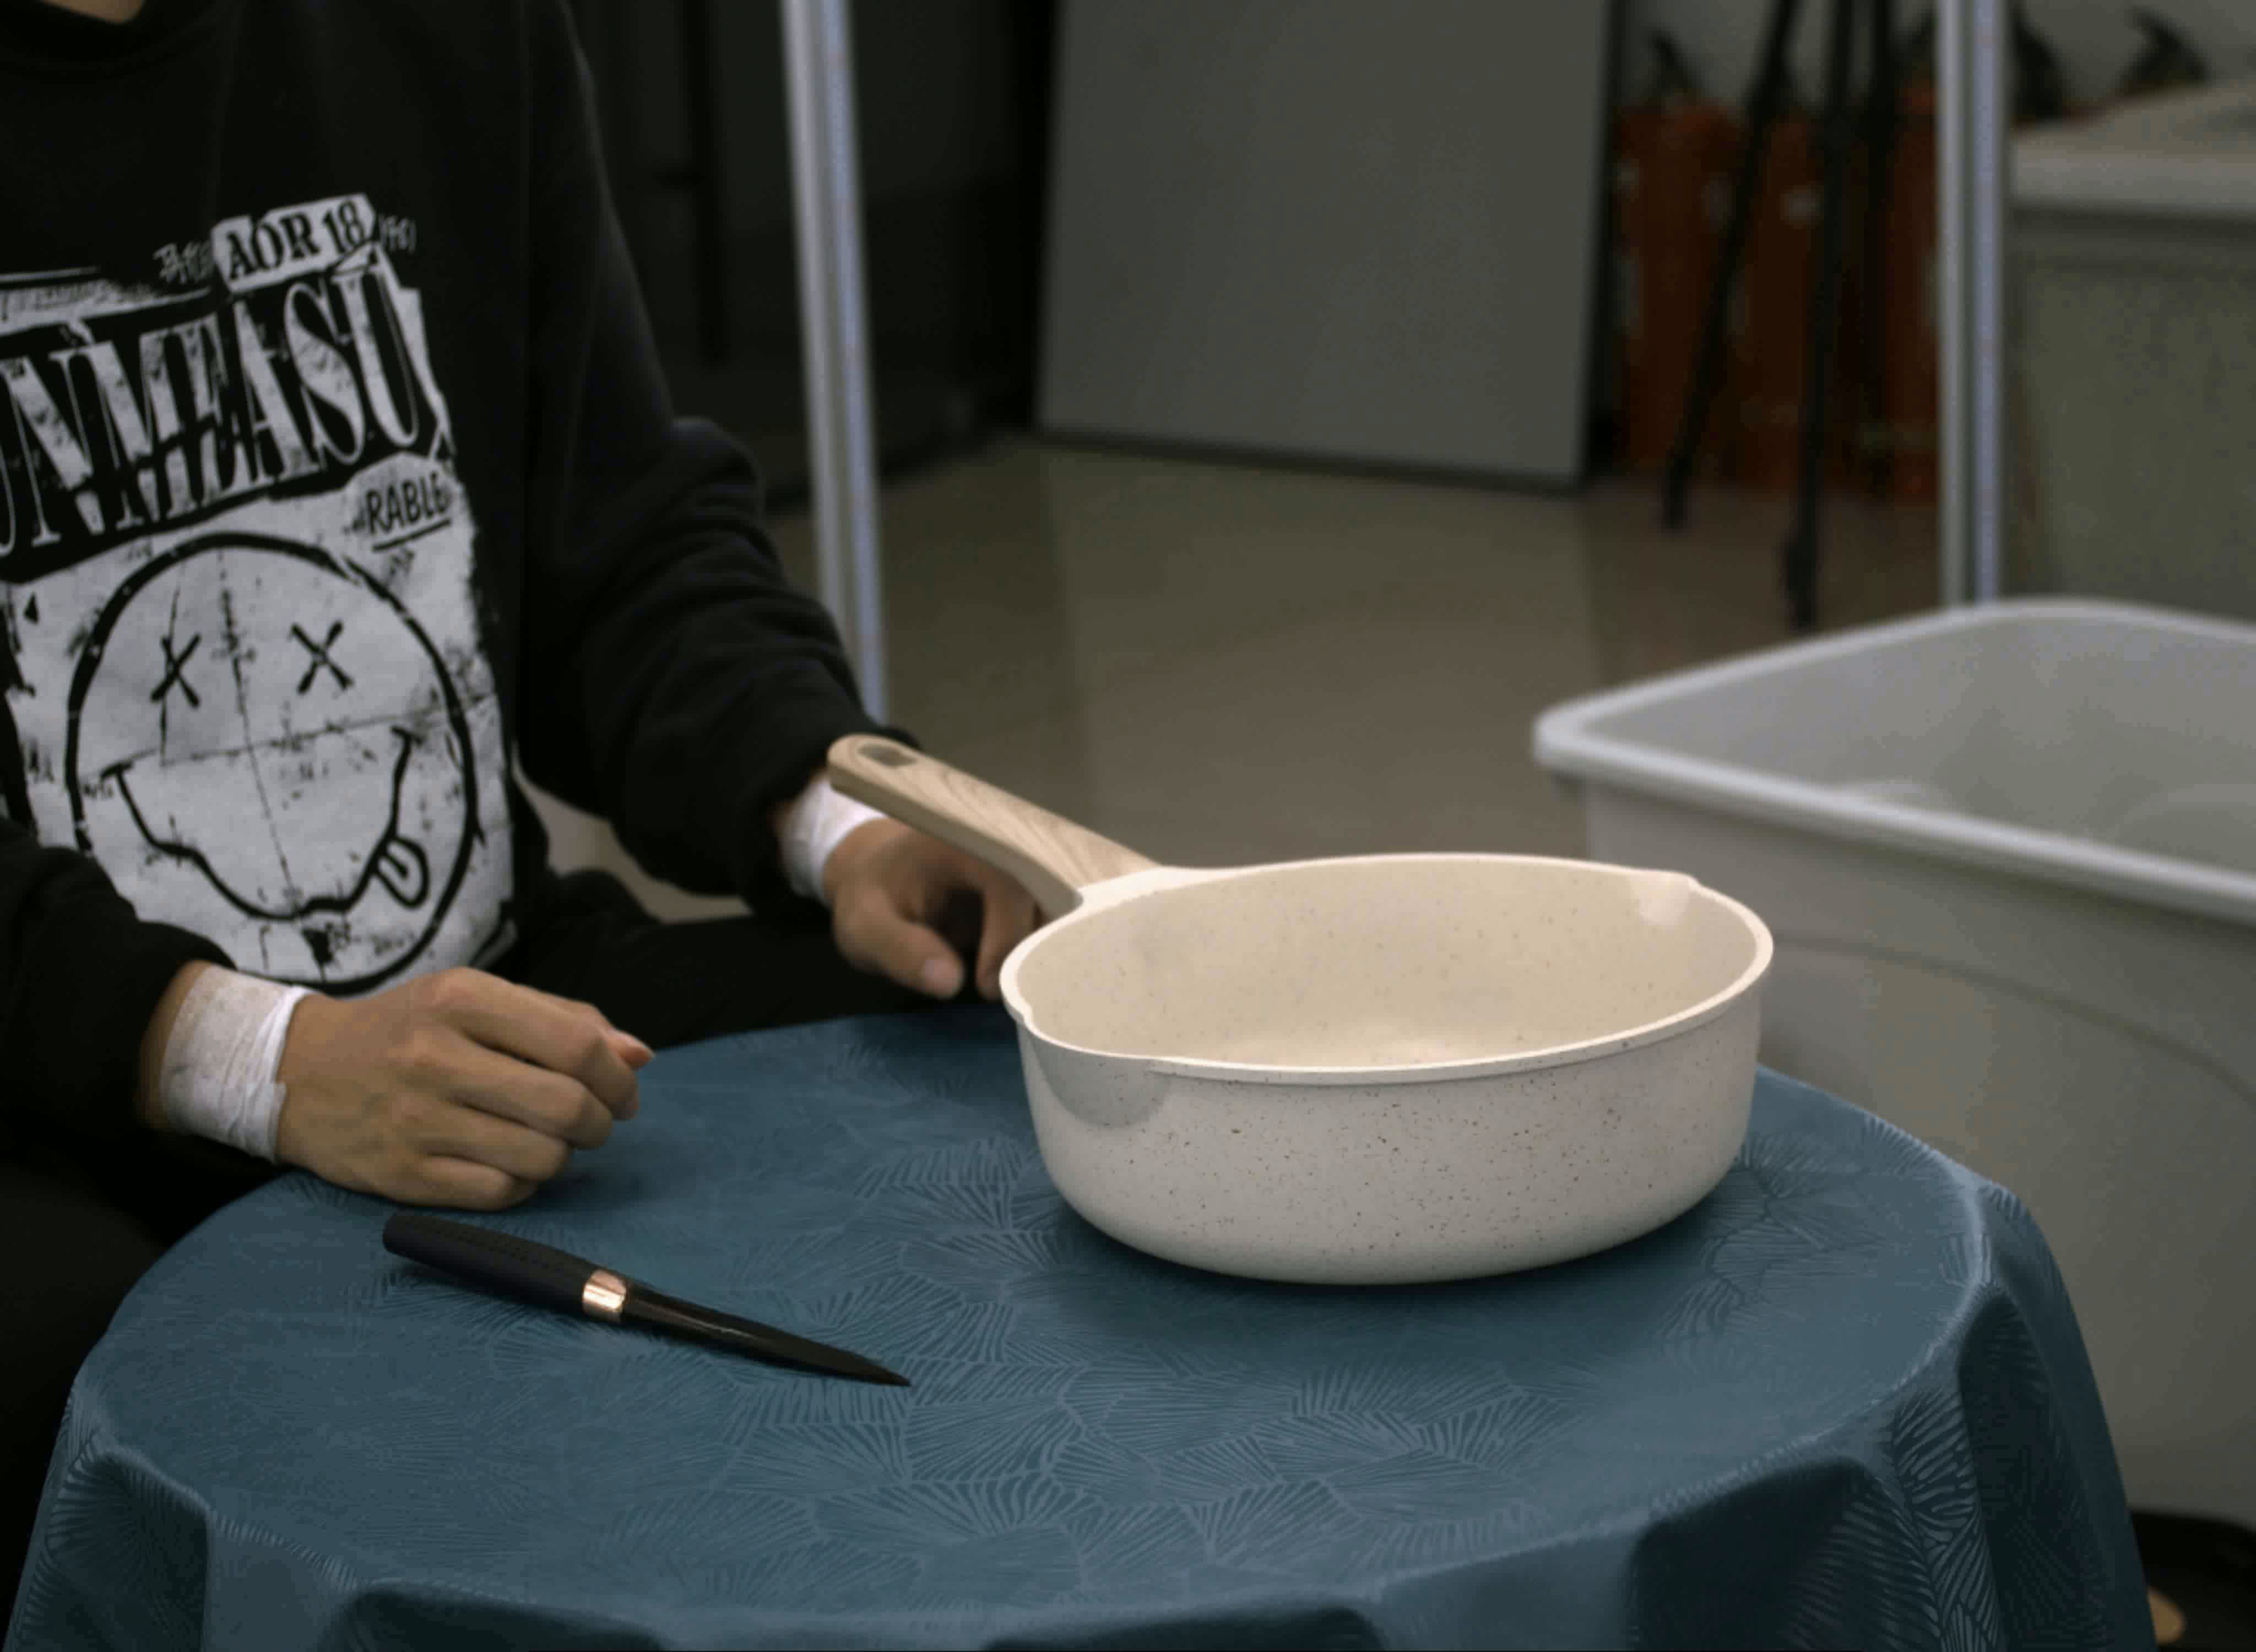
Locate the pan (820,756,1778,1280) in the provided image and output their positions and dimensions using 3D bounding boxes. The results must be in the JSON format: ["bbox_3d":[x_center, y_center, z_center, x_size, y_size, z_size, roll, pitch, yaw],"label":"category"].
[{"bbox_3d":[0.032,0.056,1.817,0.258,0.103,0.439,-16,18,-34],"label":"pan"}]

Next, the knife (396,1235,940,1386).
[{"bbox_3d":[-0.146,0.152,1.679,0.227,0.017,0.025,9,3,40],"label":"knife"}]
